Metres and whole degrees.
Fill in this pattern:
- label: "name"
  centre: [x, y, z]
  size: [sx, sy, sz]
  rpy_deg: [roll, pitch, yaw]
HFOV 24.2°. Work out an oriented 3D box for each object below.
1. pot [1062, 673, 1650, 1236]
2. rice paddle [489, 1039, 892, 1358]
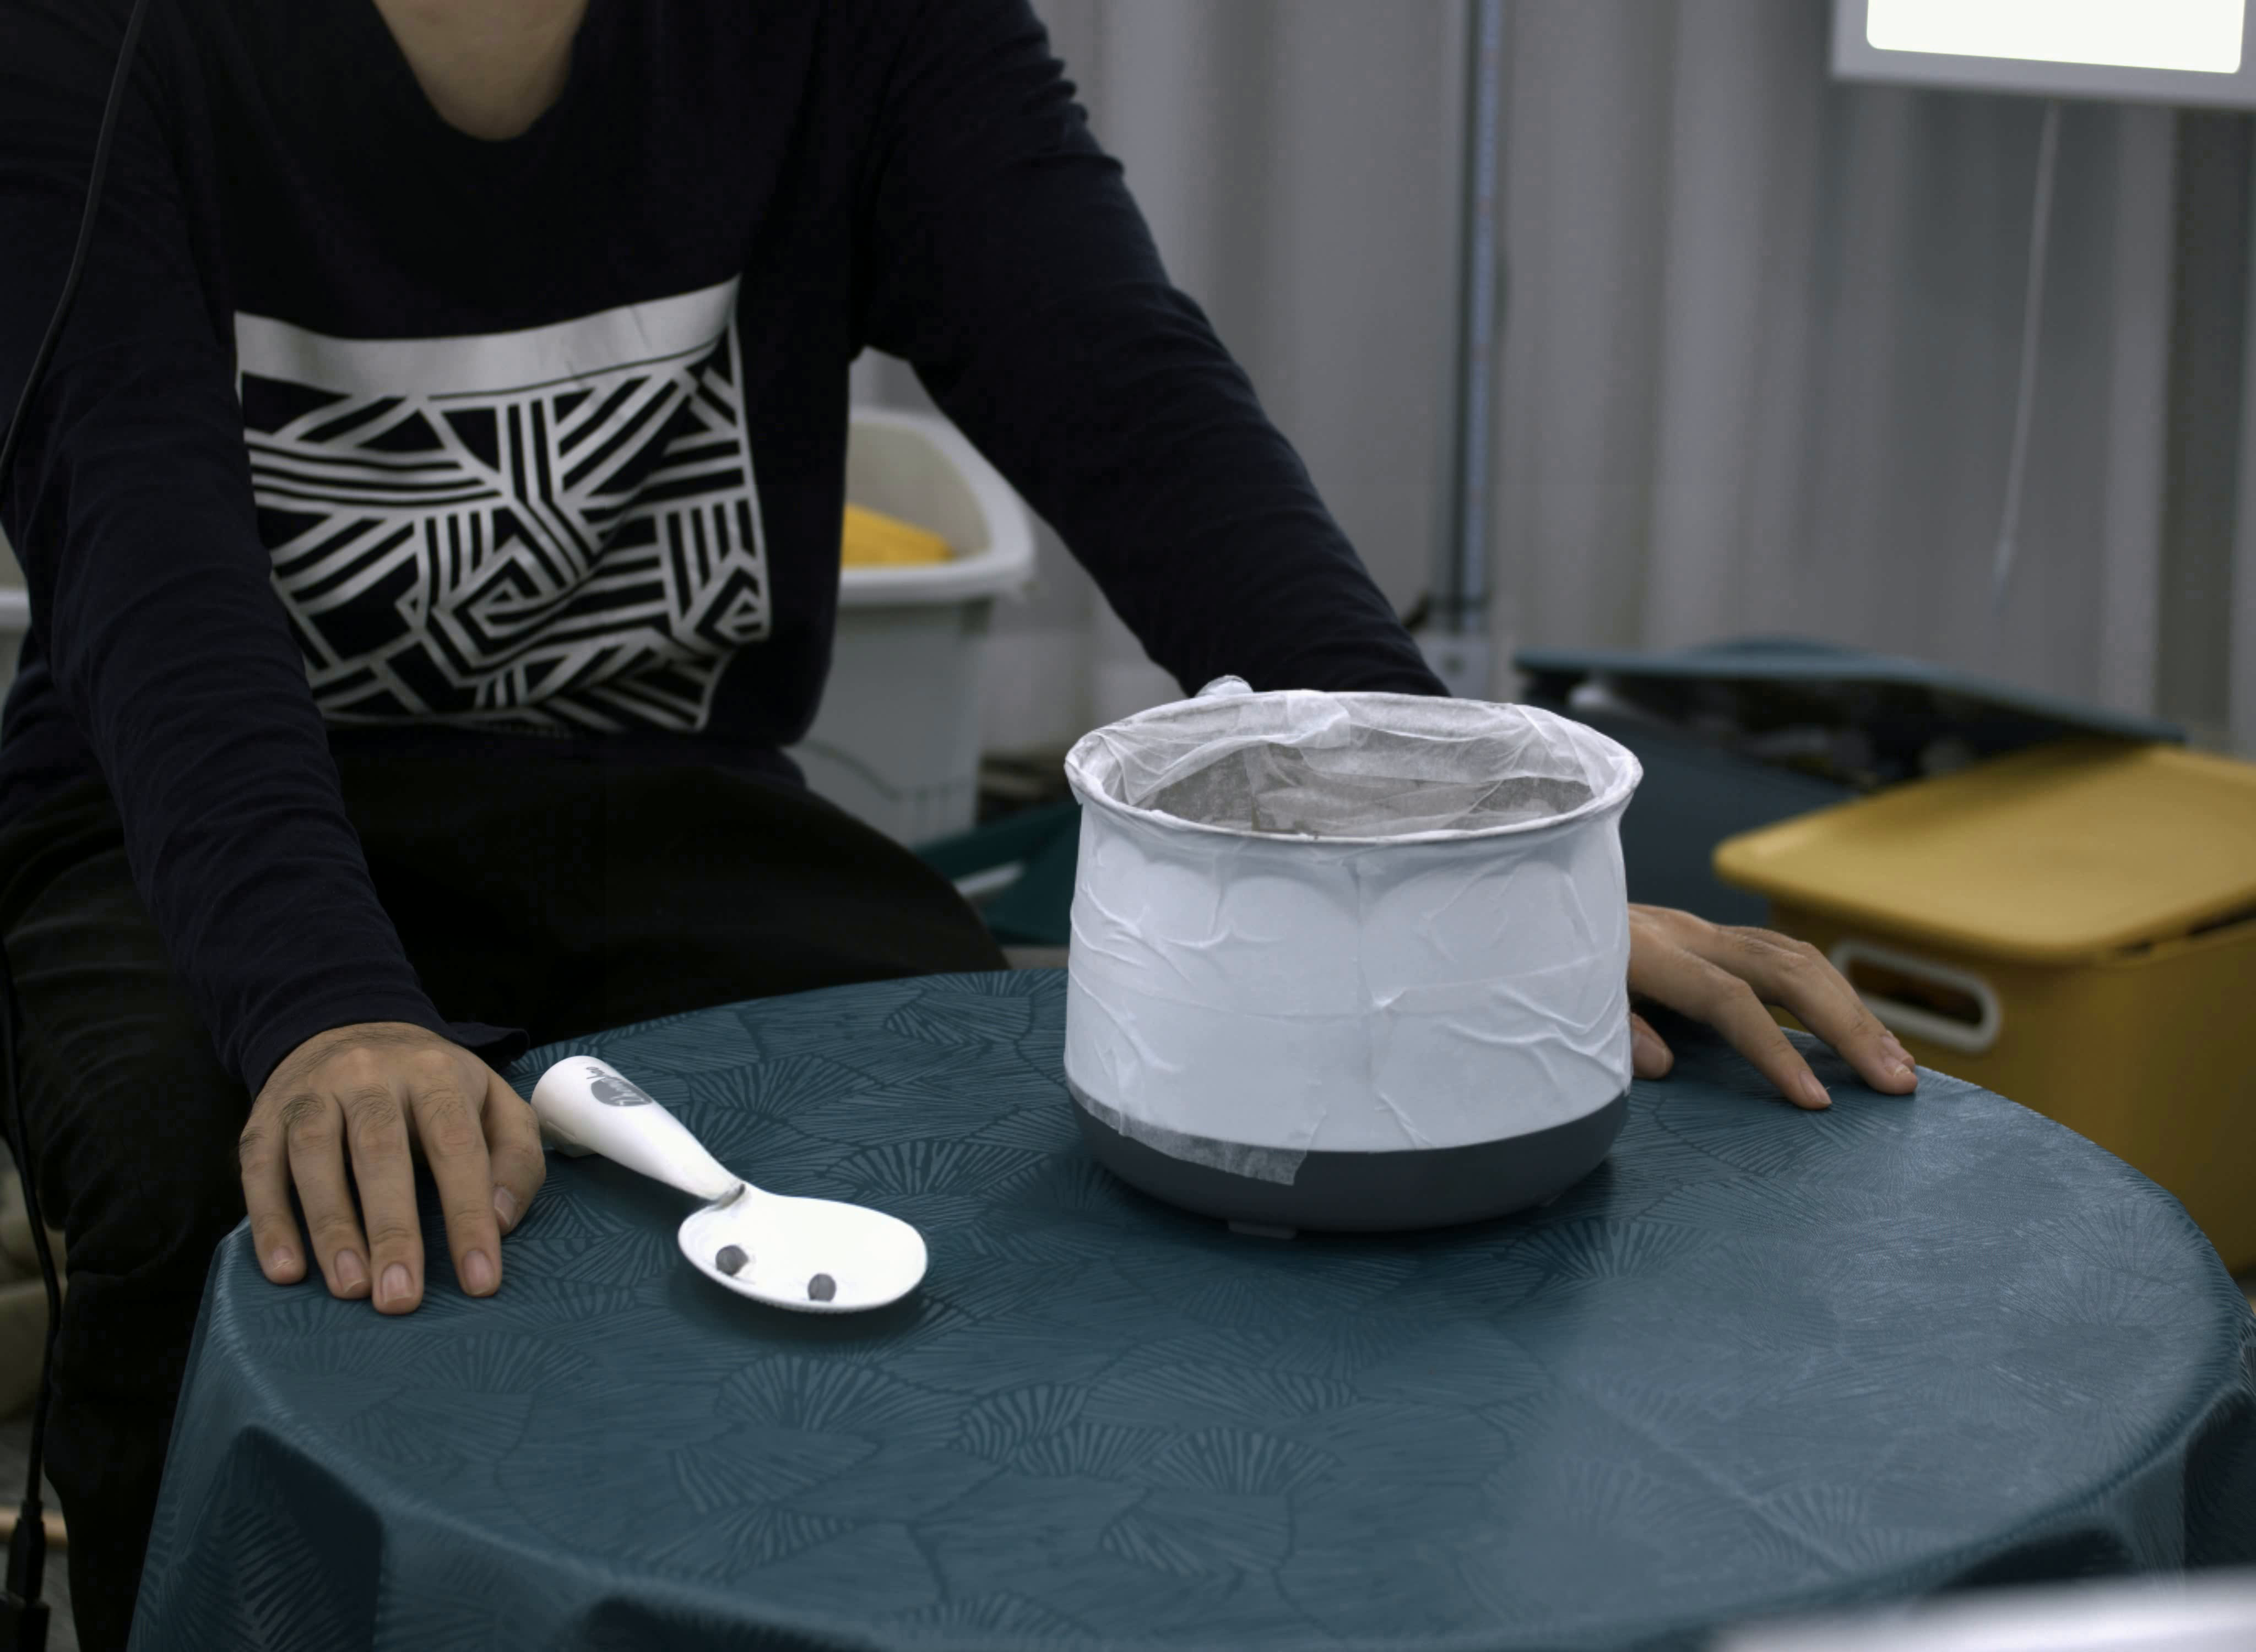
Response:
- label: "pot"
  centre: [0.058, 0.035, 1.651]
  size: [0.179, 0.137, 0.231]
  rpy_deg: [-4, 16, -23]
- label: "rice paddle"
  centre: [-0.135, 0.114, 1.581]
  size: [0.069, 0.029, 0.202]
  rpy_deg: [-3, 21, -32]
